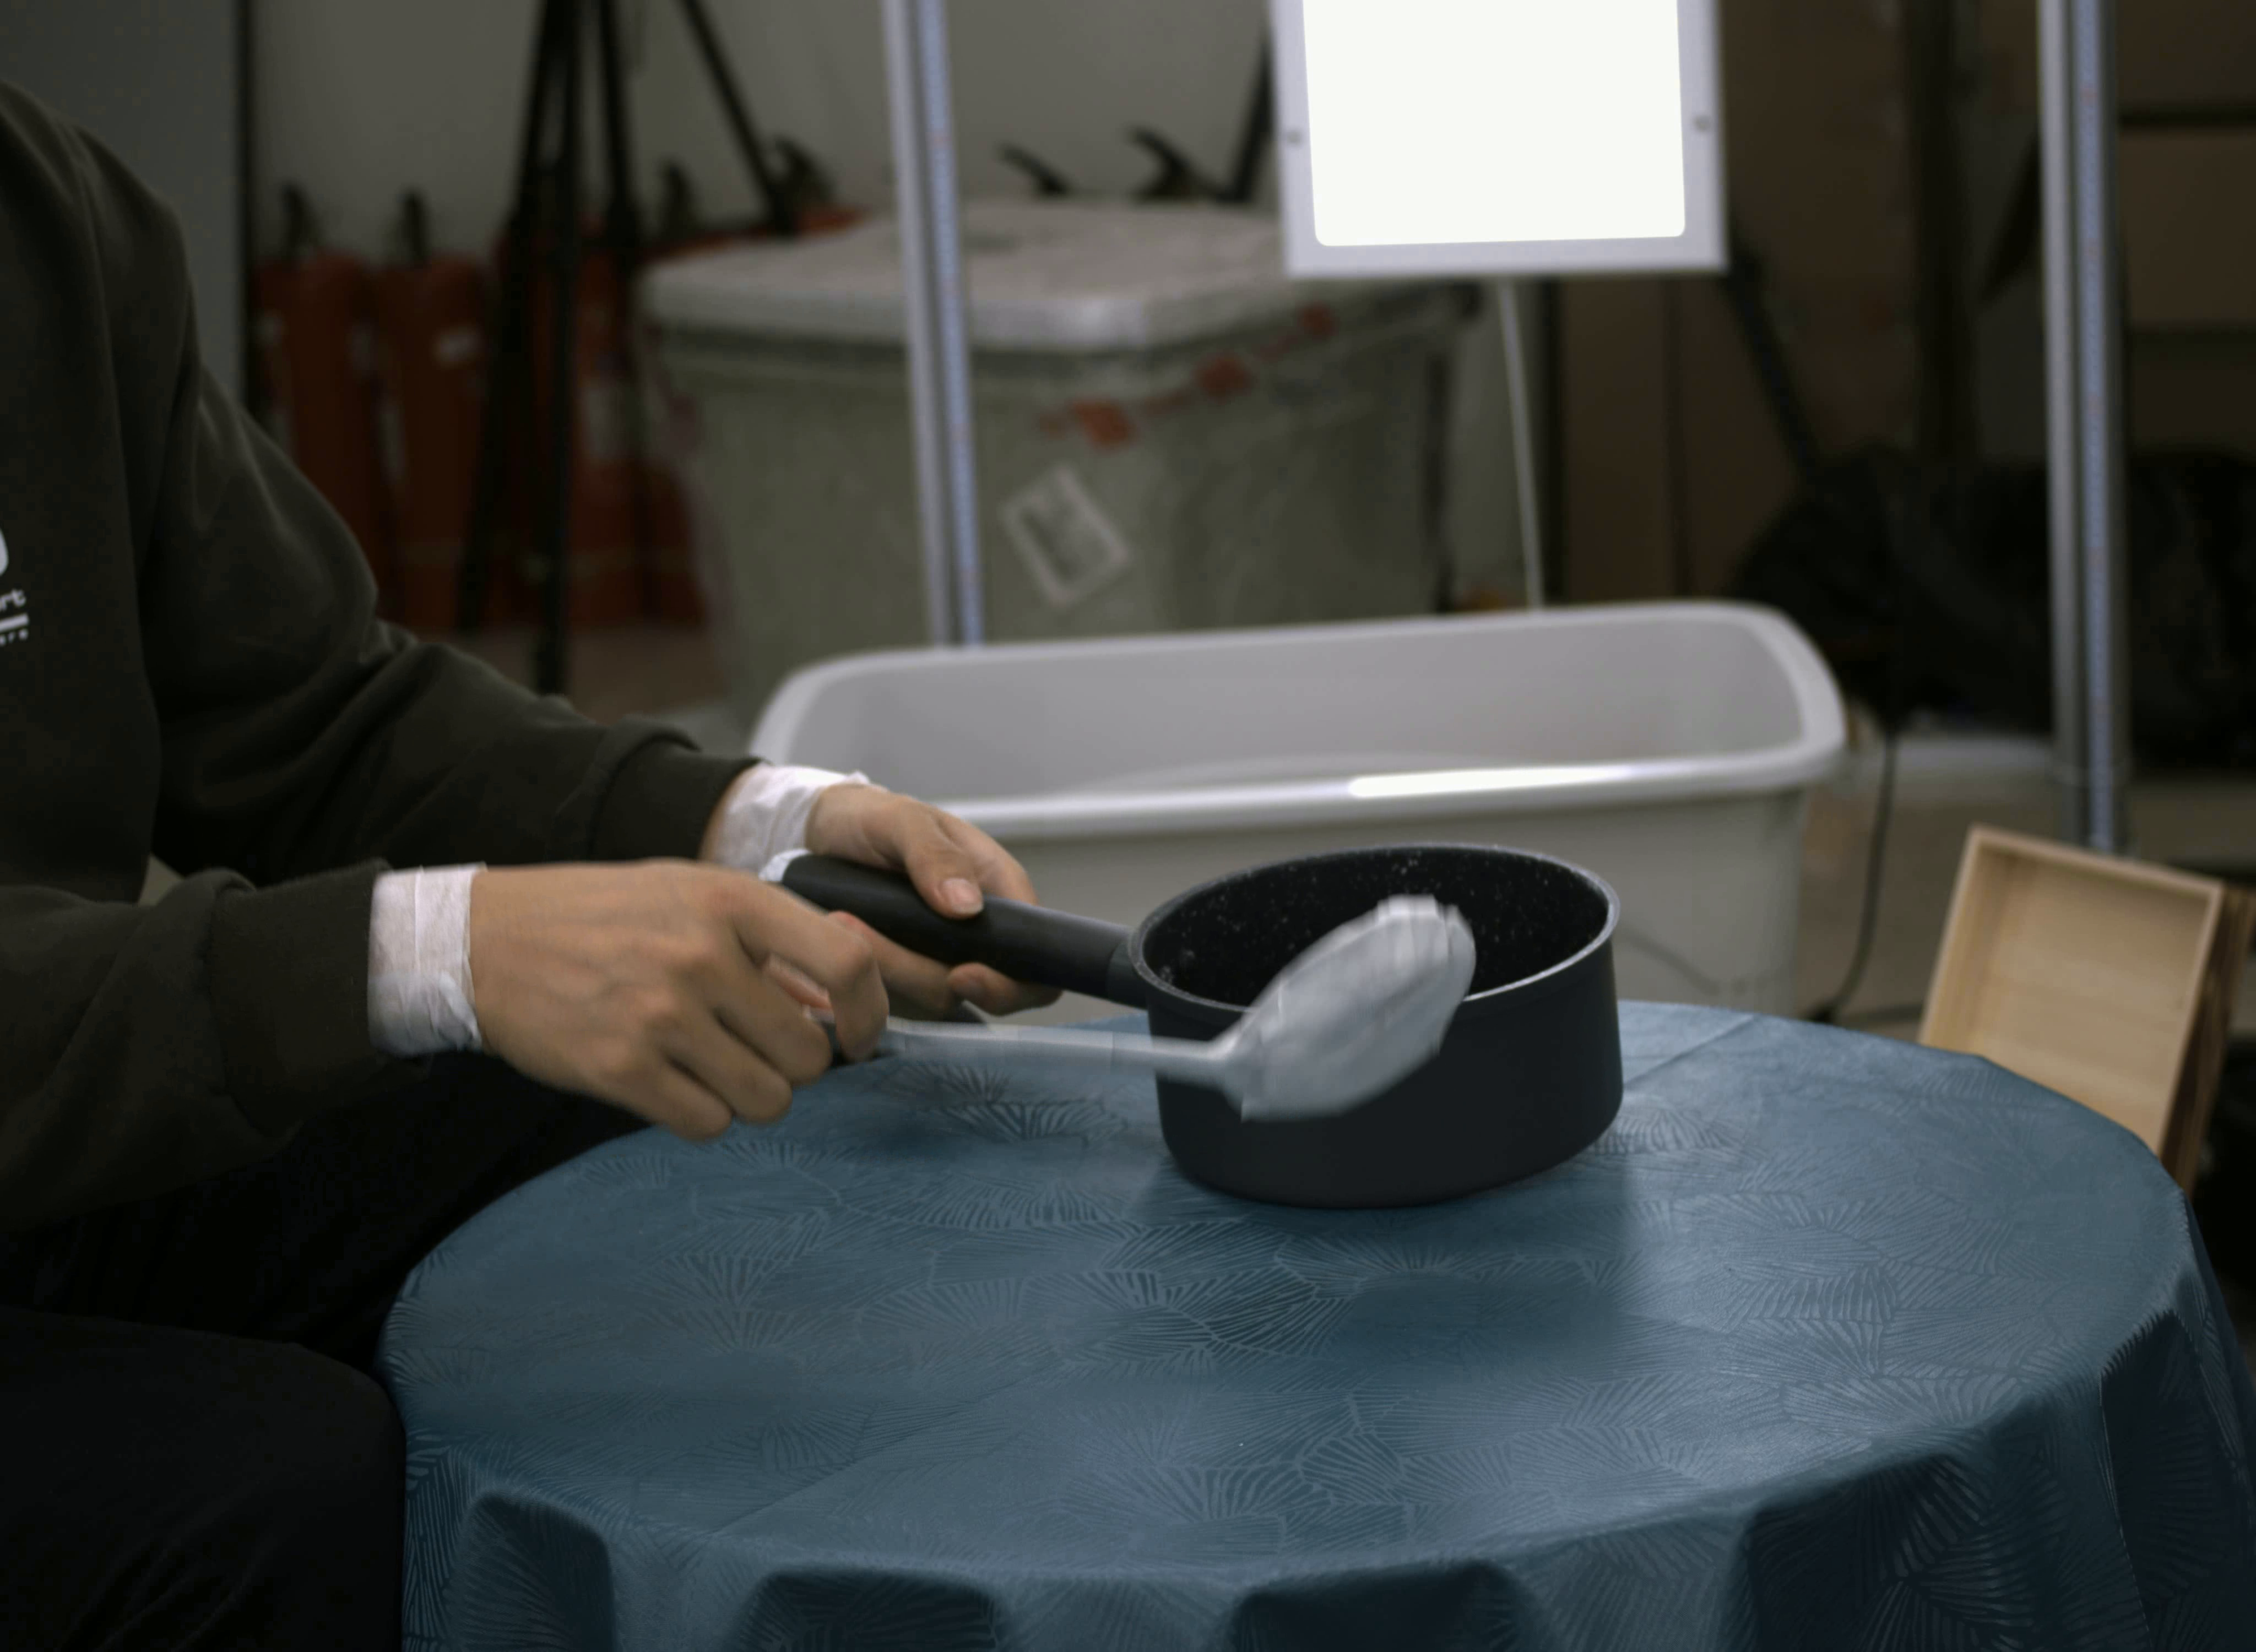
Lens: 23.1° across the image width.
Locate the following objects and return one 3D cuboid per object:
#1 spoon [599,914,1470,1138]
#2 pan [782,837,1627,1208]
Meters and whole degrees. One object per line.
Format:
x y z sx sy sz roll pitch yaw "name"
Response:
-0.029 0.062 1.769 0.277 0.101 0.059 3 48 4 "spoon"
0.022 0.061 1.961 0.335 0.087 0.168 5 21 31 "pan"
